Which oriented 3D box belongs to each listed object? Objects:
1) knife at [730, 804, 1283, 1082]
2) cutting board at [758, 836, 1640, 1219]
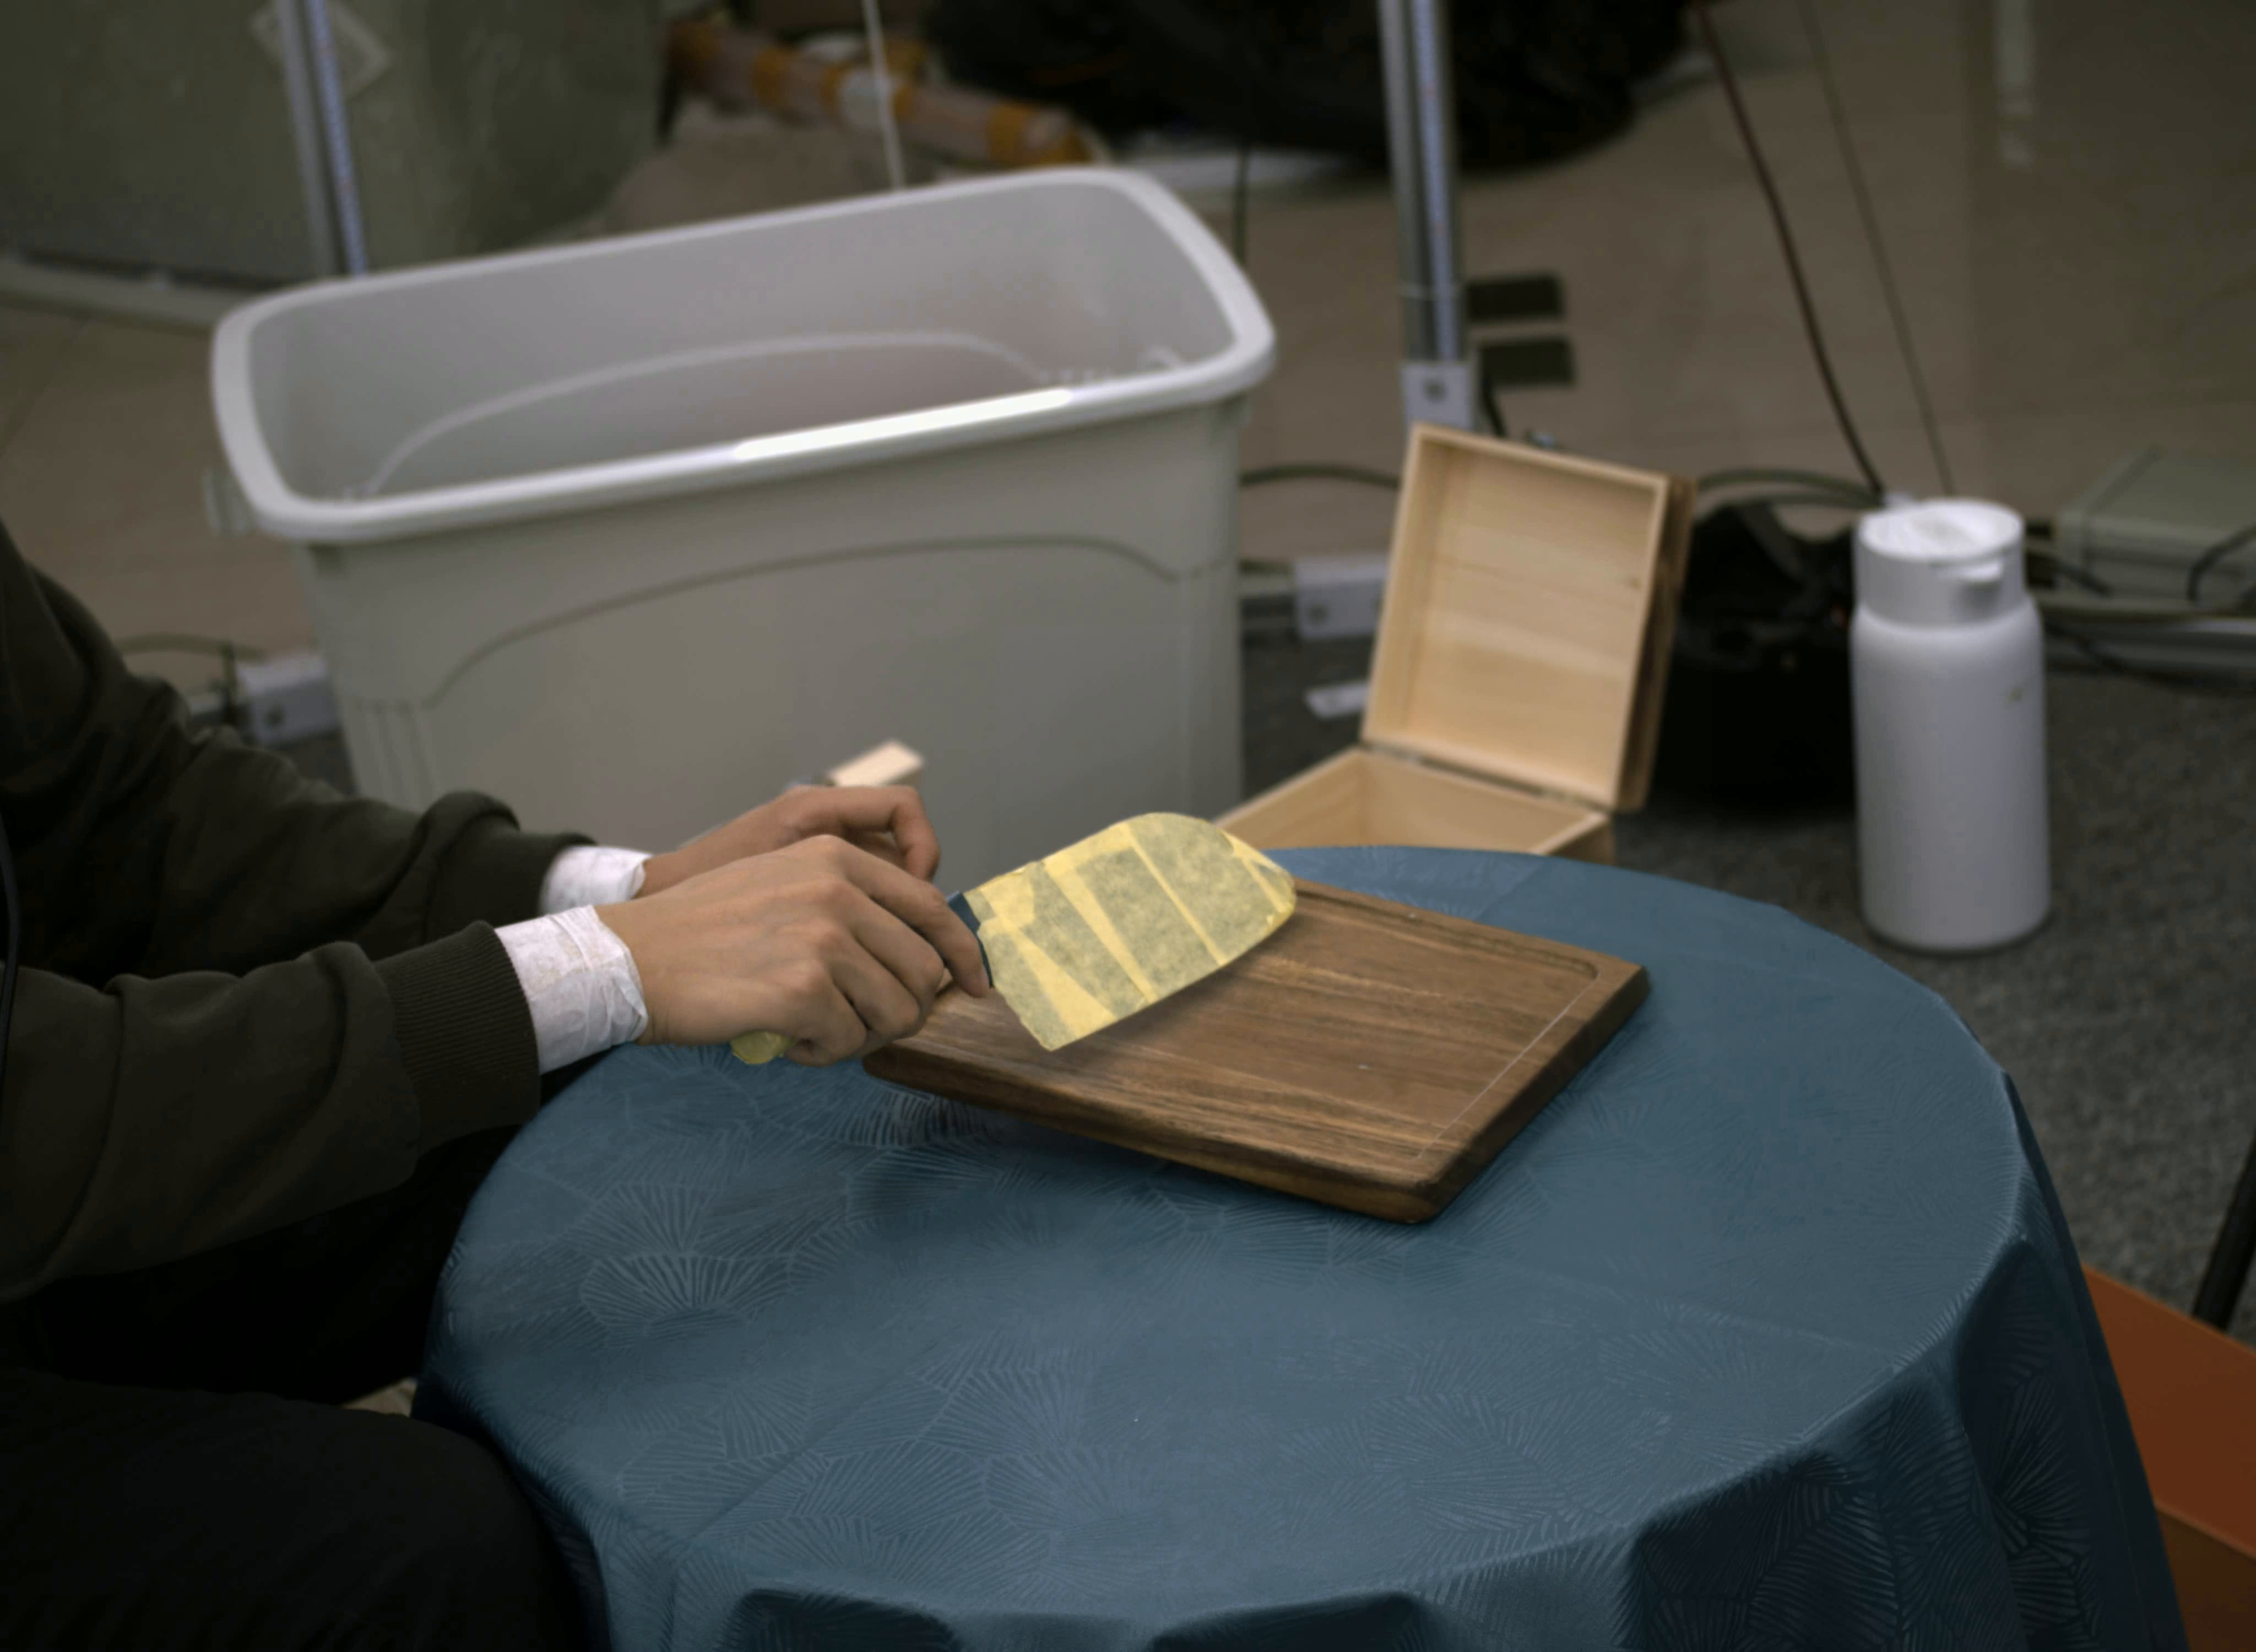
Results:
[{"bbox_3d":[-0.039,0.051,2.182,0.287,0.027,0.080,-23,70,-42],"label":"knife"},{"bbox_3d":[0.007,0.064,2.244,0.350,0.023,0.198,14,31,26],"label":"cutting board"}]
